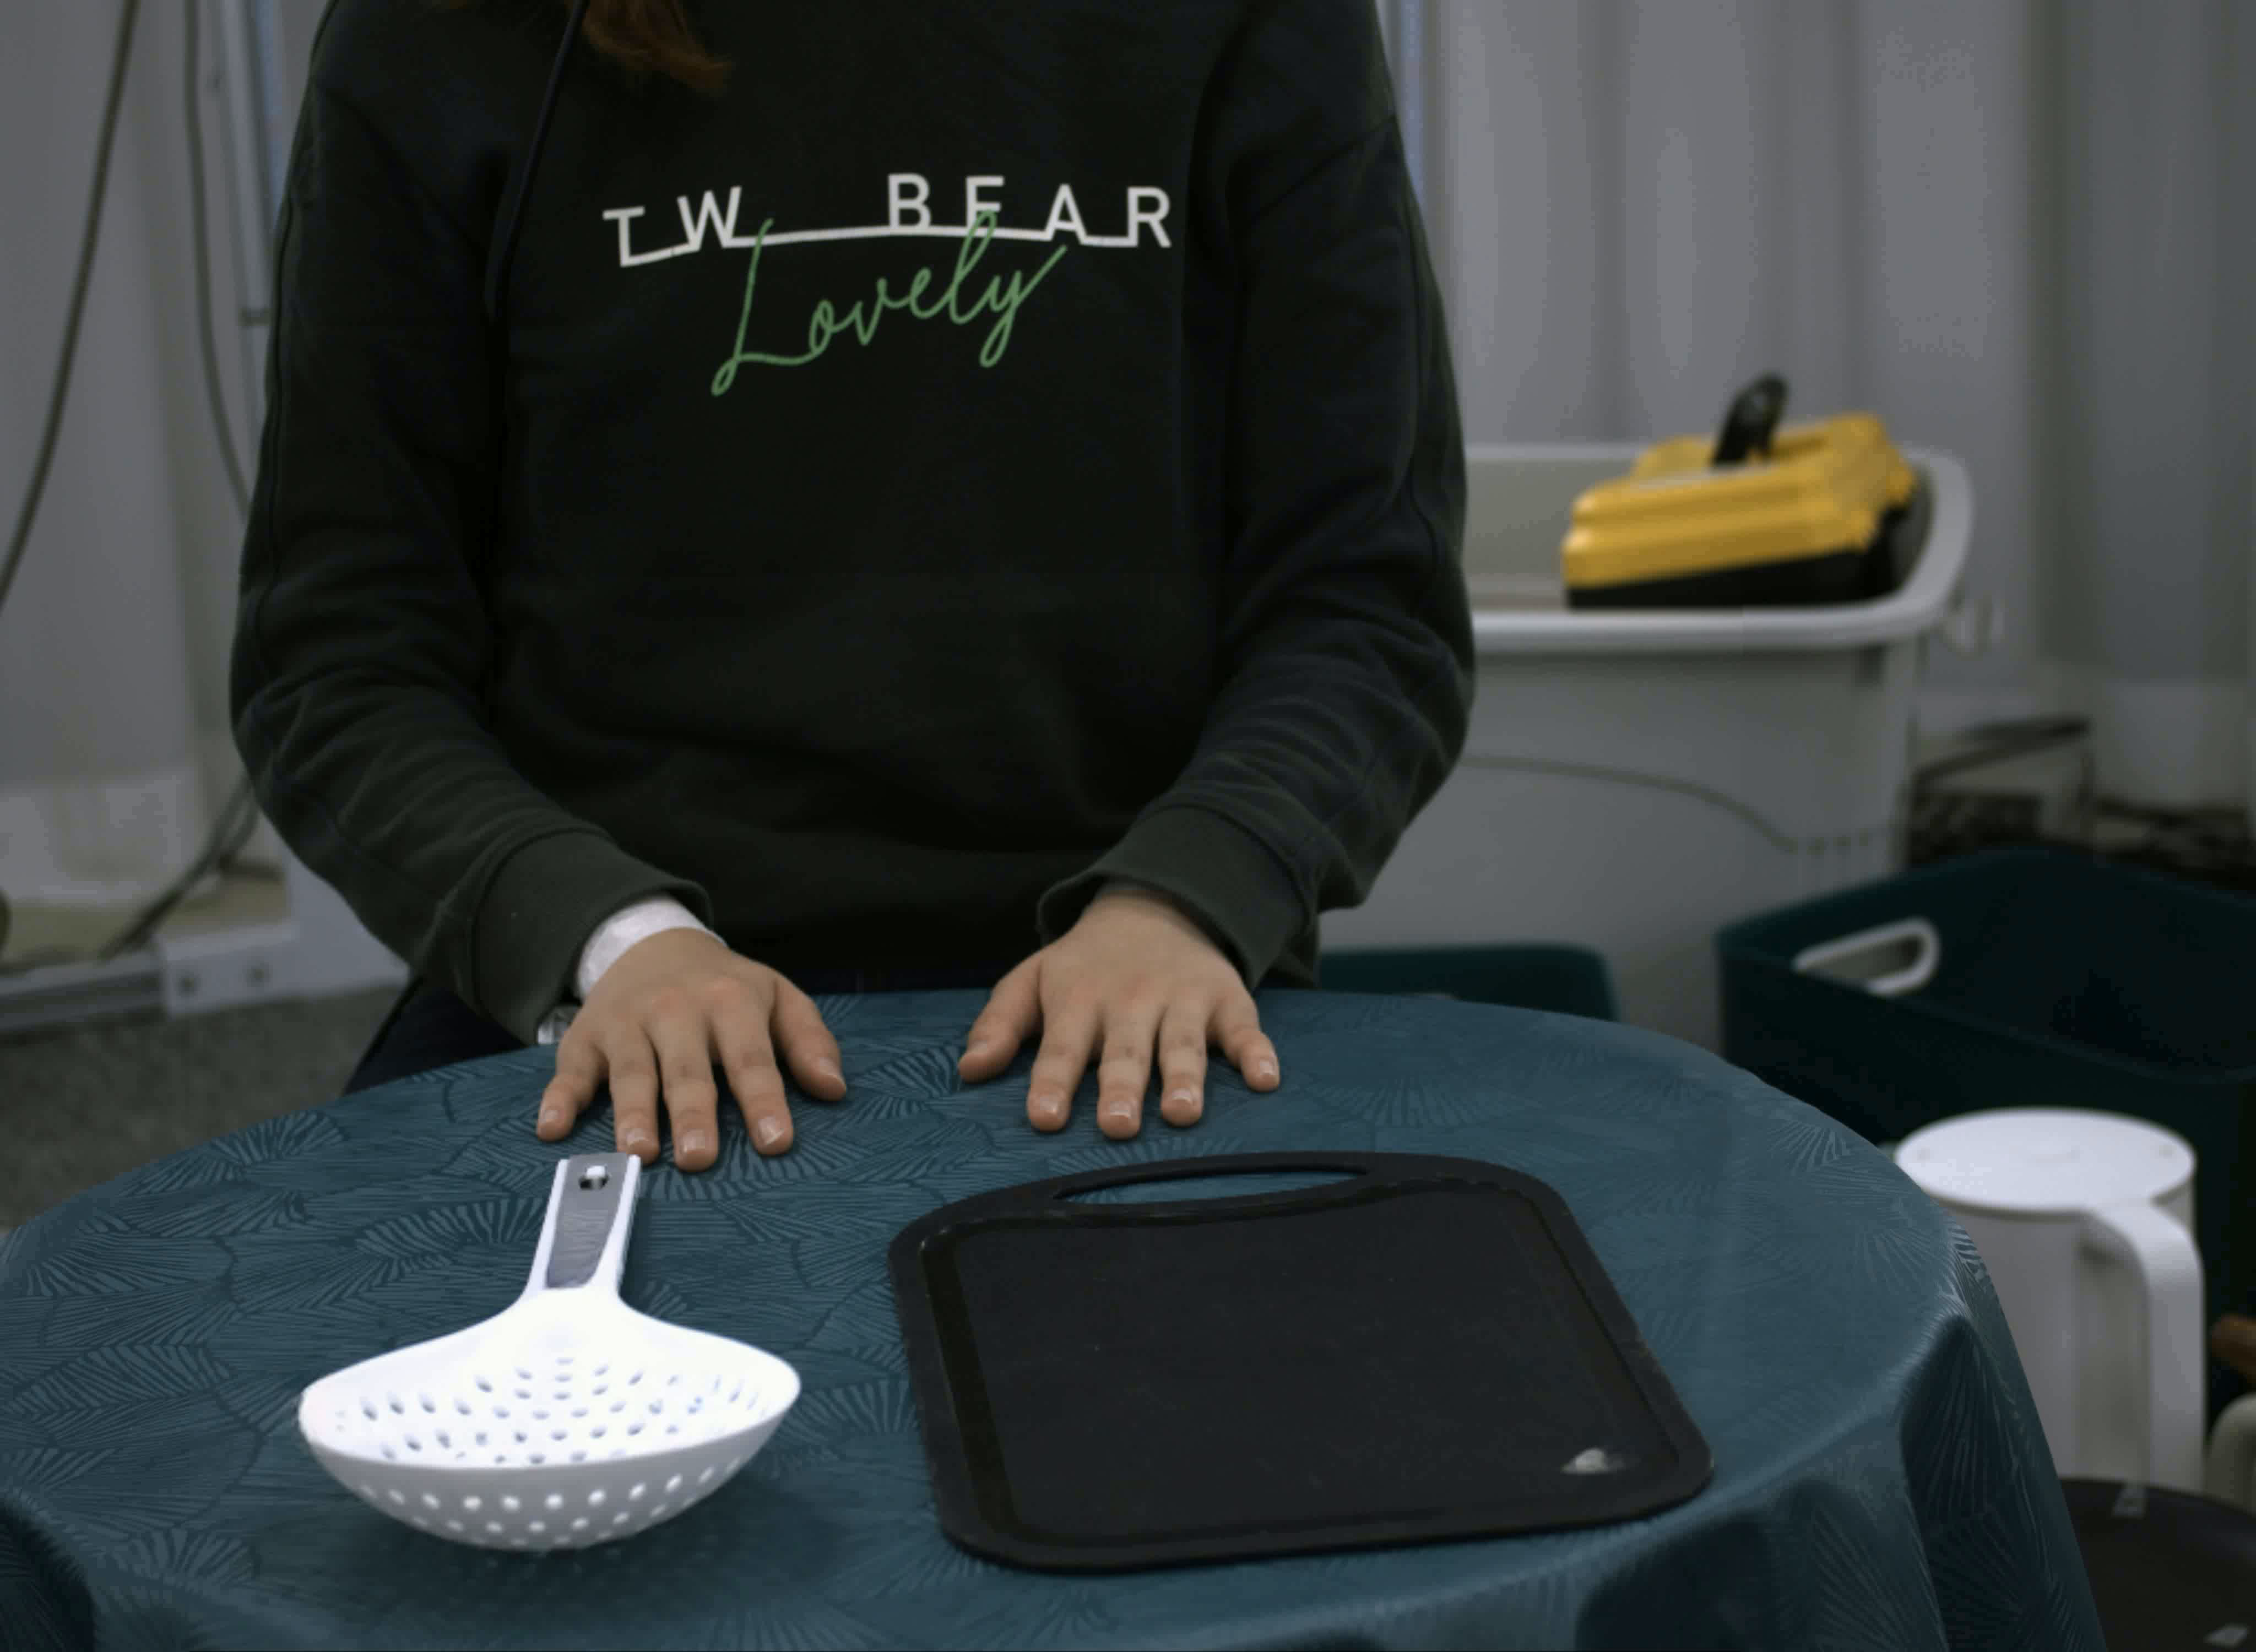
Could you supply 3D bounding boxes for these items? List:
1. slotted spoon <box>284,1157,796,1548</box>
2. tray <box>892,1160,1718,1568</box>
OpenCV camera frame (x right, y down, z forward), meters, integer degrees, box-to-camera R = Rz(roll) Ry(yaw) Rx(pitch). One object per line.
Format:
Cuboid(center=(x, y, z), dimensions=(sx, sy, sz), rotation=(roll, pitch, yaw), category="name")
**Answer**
Cuboid(center=(-0.160, 0.141, 1.560), dimensions=(0.135, 0.045, 0.352), rotation=(-1, 14, -2), category="slotted spoon")
Cuboid(center=(0.042, 0.147, 1.573), dimensions=(0.210, 0.010, 0.328), rotation=(-4, 15, -5), category="tray")
